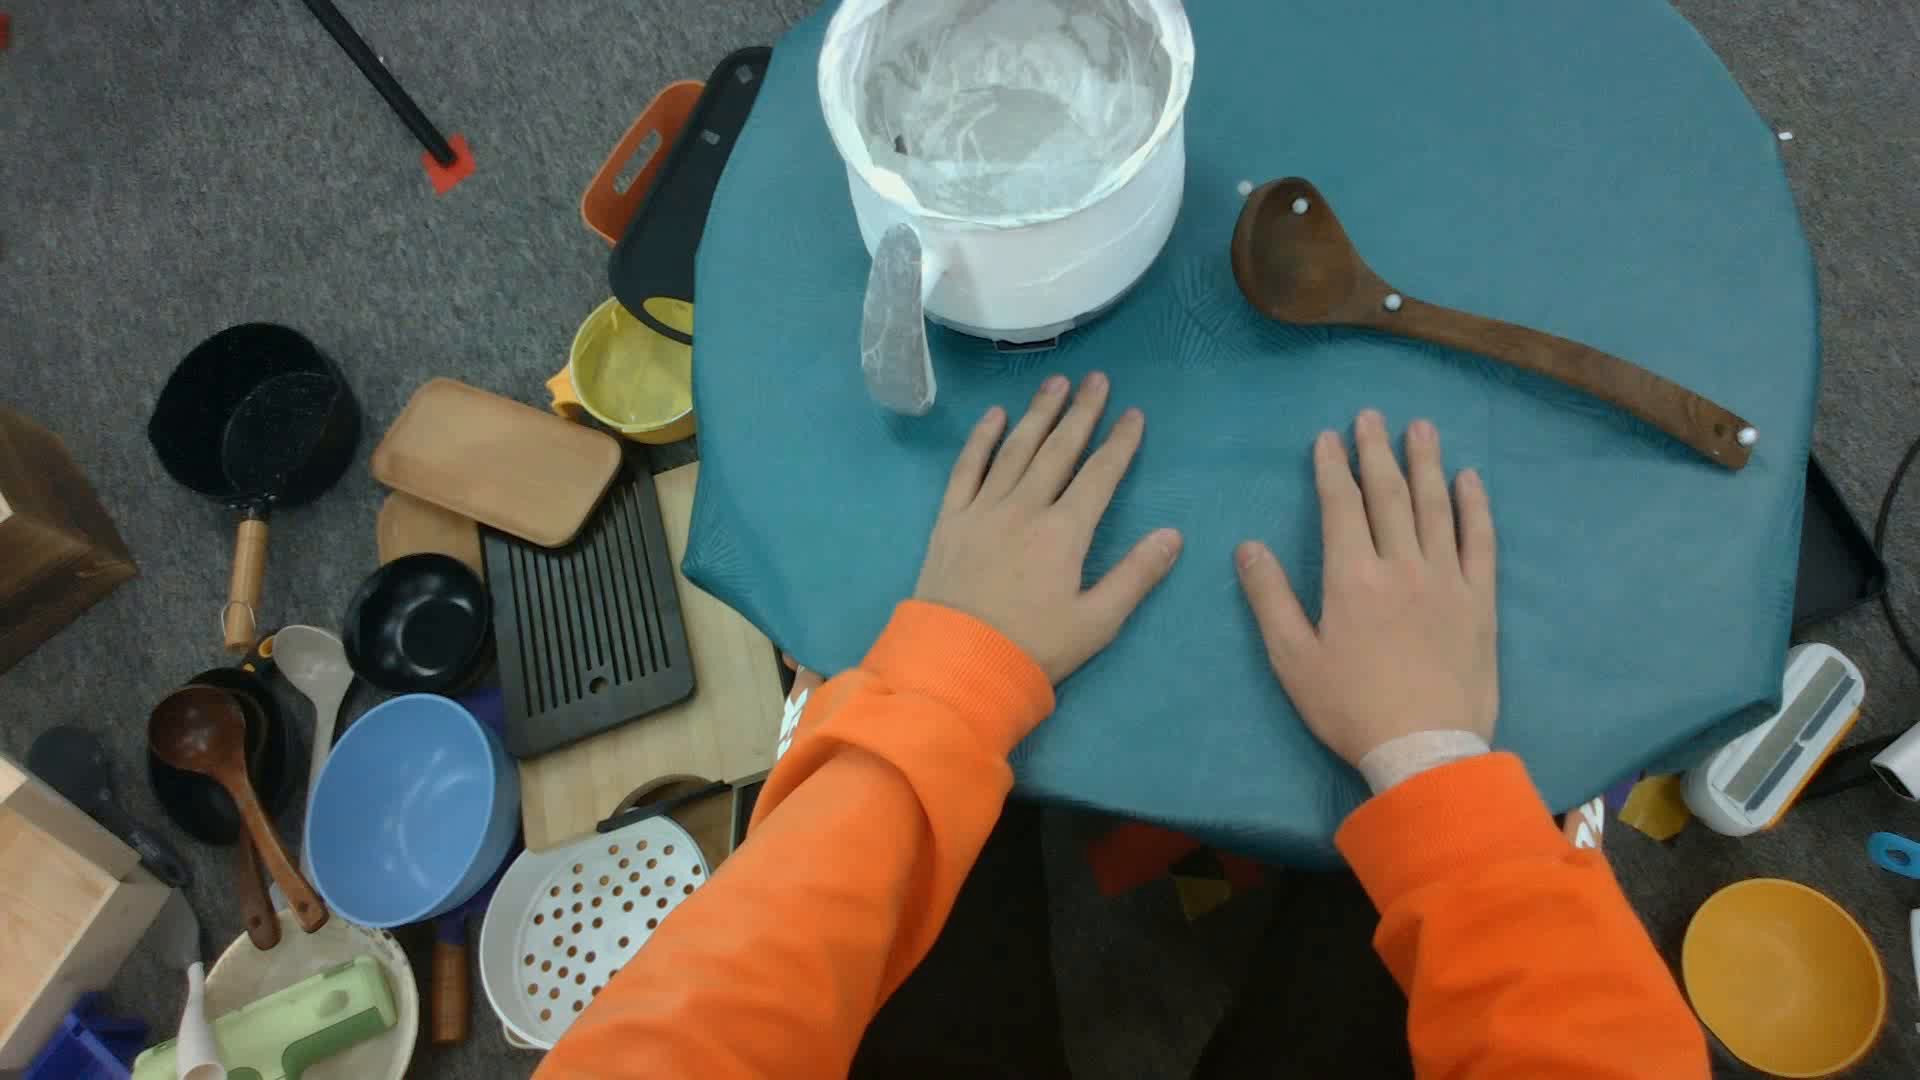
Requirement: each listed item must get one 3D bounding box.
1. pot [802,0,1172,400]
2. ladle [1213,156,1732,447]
[{"bbox_3d":[0.006,-0.188,0.704,0.178,0.136,0.234,23,75,13],"label":"pot"},{"bbox_3d":[0.259,-0.117,0.691,0.274,0.071,0.076,23,78,14],"label":"ladle"}]
